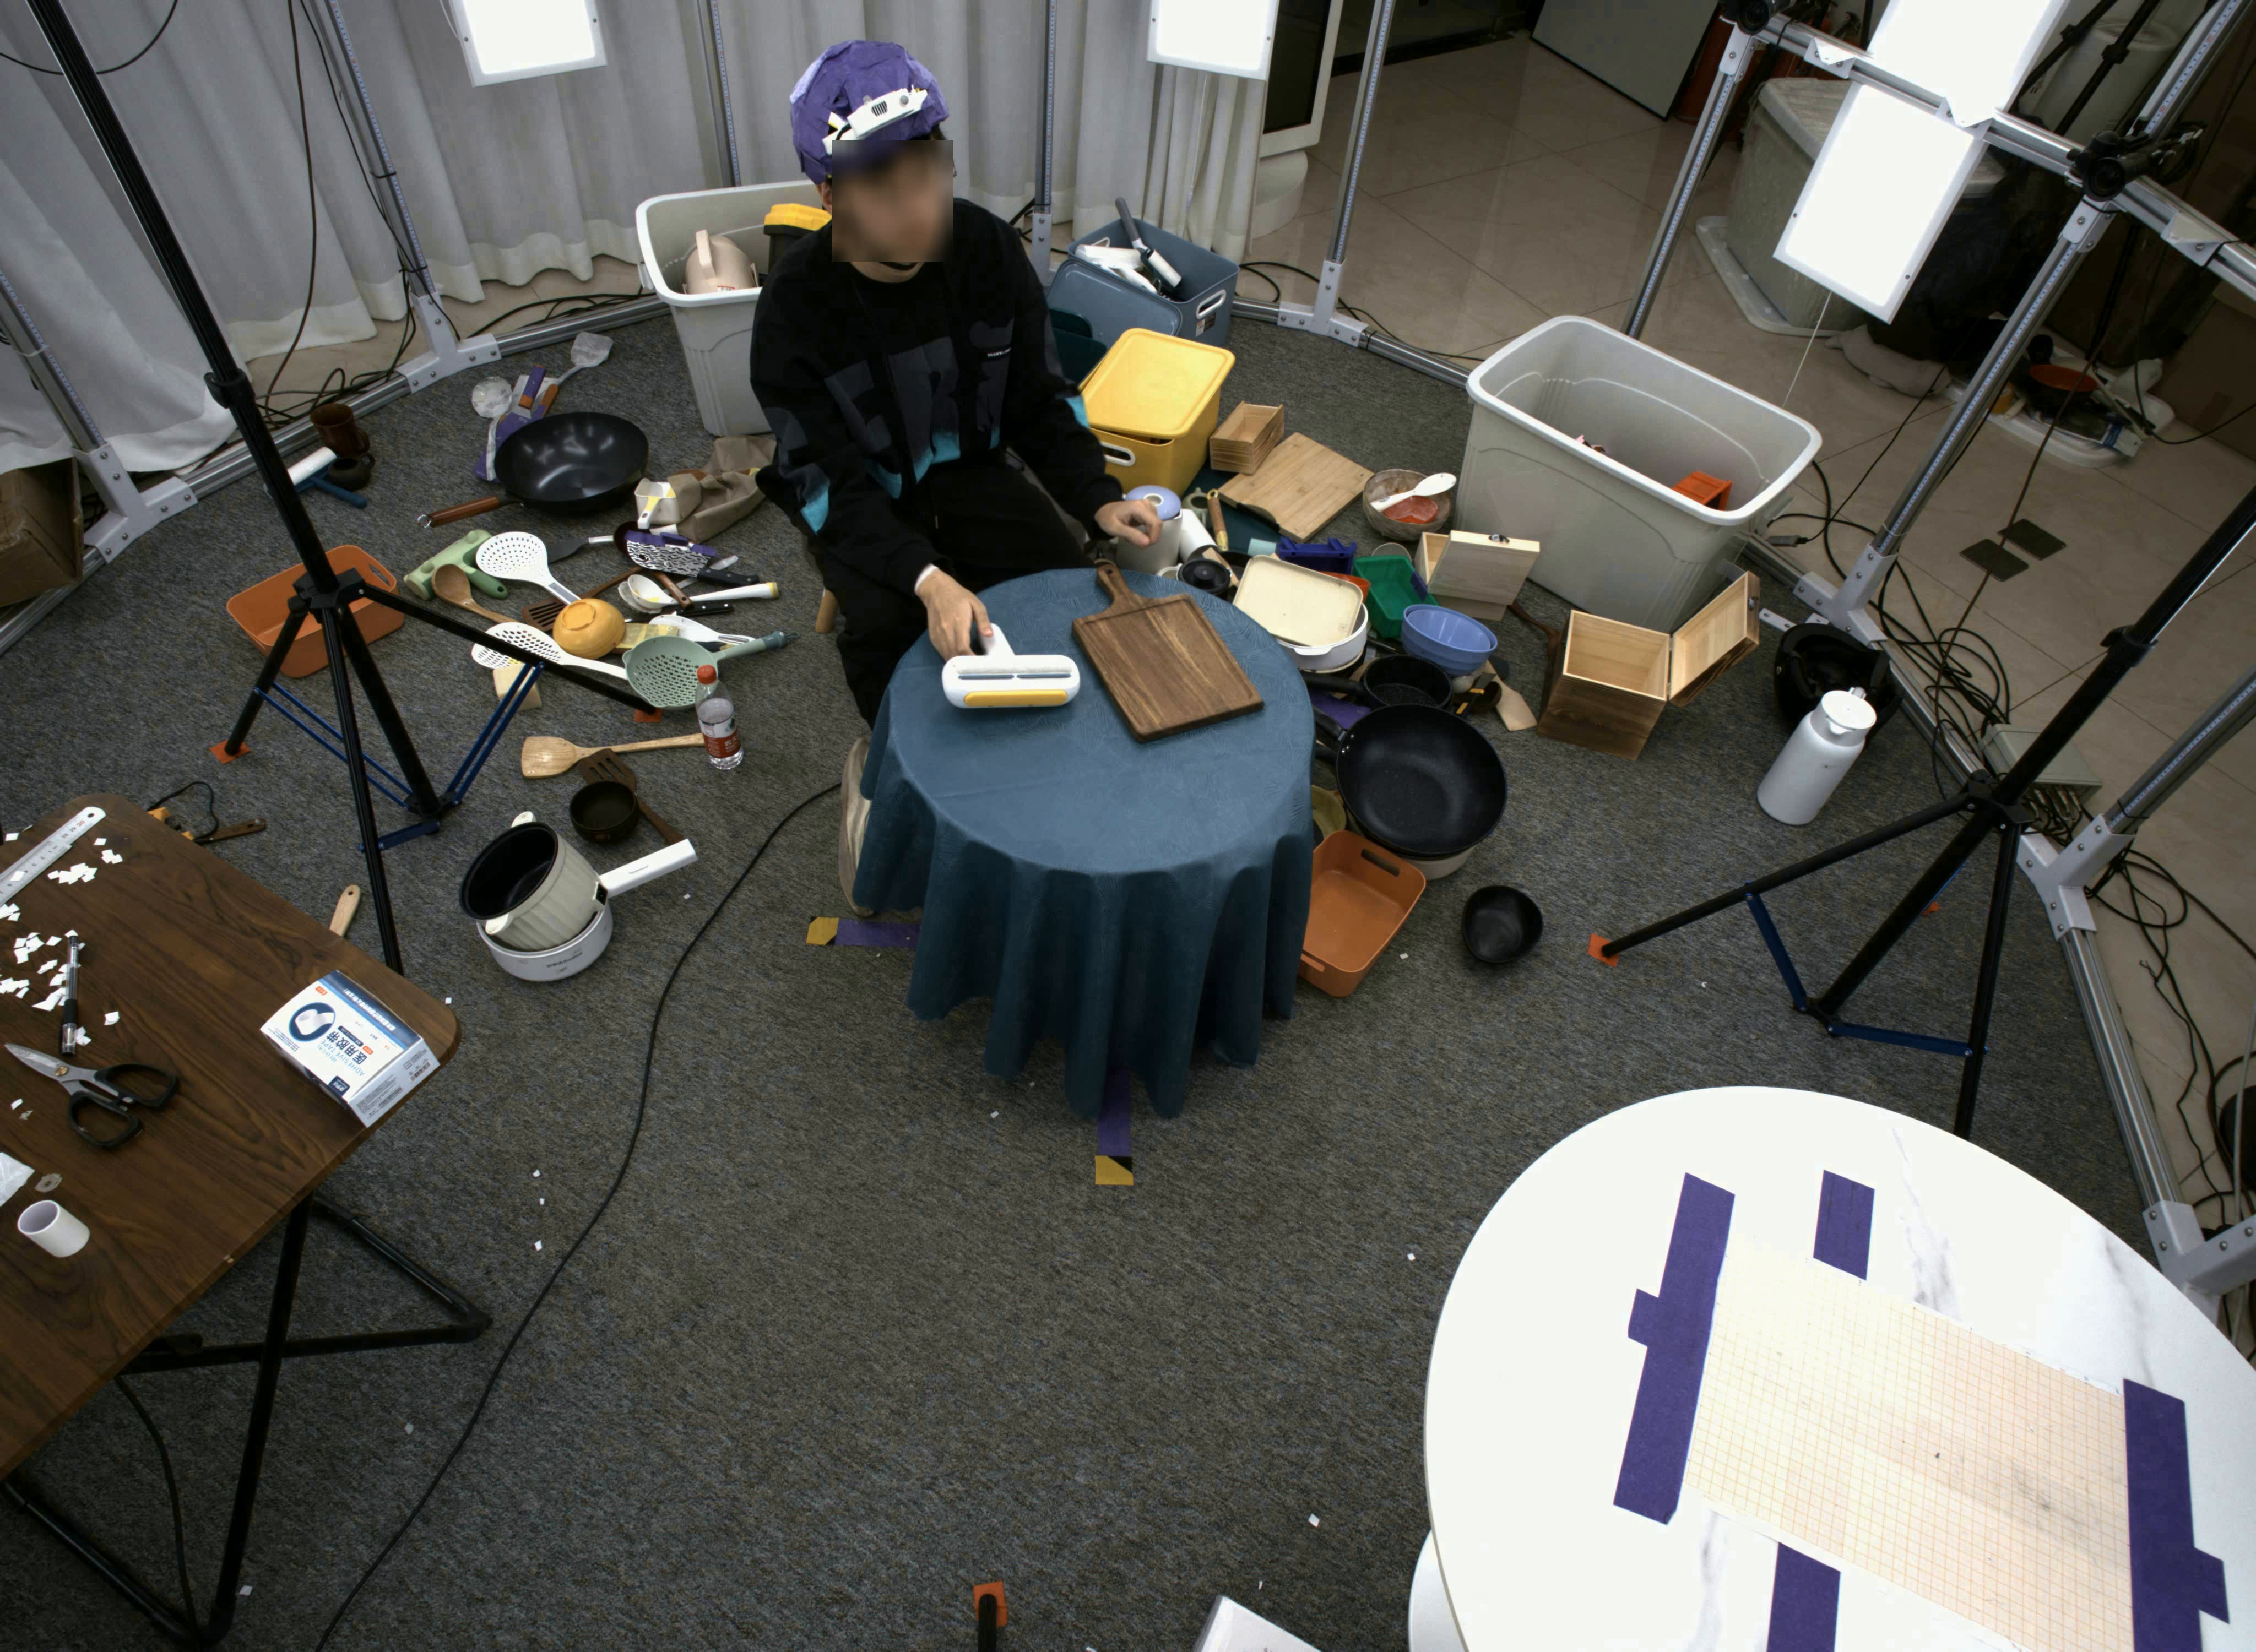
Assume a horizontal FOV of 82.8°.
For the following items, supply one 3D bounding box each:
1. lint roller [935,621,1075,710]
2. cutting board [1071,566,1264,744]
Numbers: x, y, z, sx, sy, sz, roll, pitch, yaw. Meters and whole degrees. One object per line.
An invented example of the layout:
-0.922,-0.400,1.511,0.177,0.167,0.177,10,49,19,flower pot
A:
-0.181,-0.239,1.819,0.192,0.072,0.197,-3,48,-14,lint roller
0.034,-0.269,1.890,0.201,0.022,0.360,-17,52,-18,cutting board
